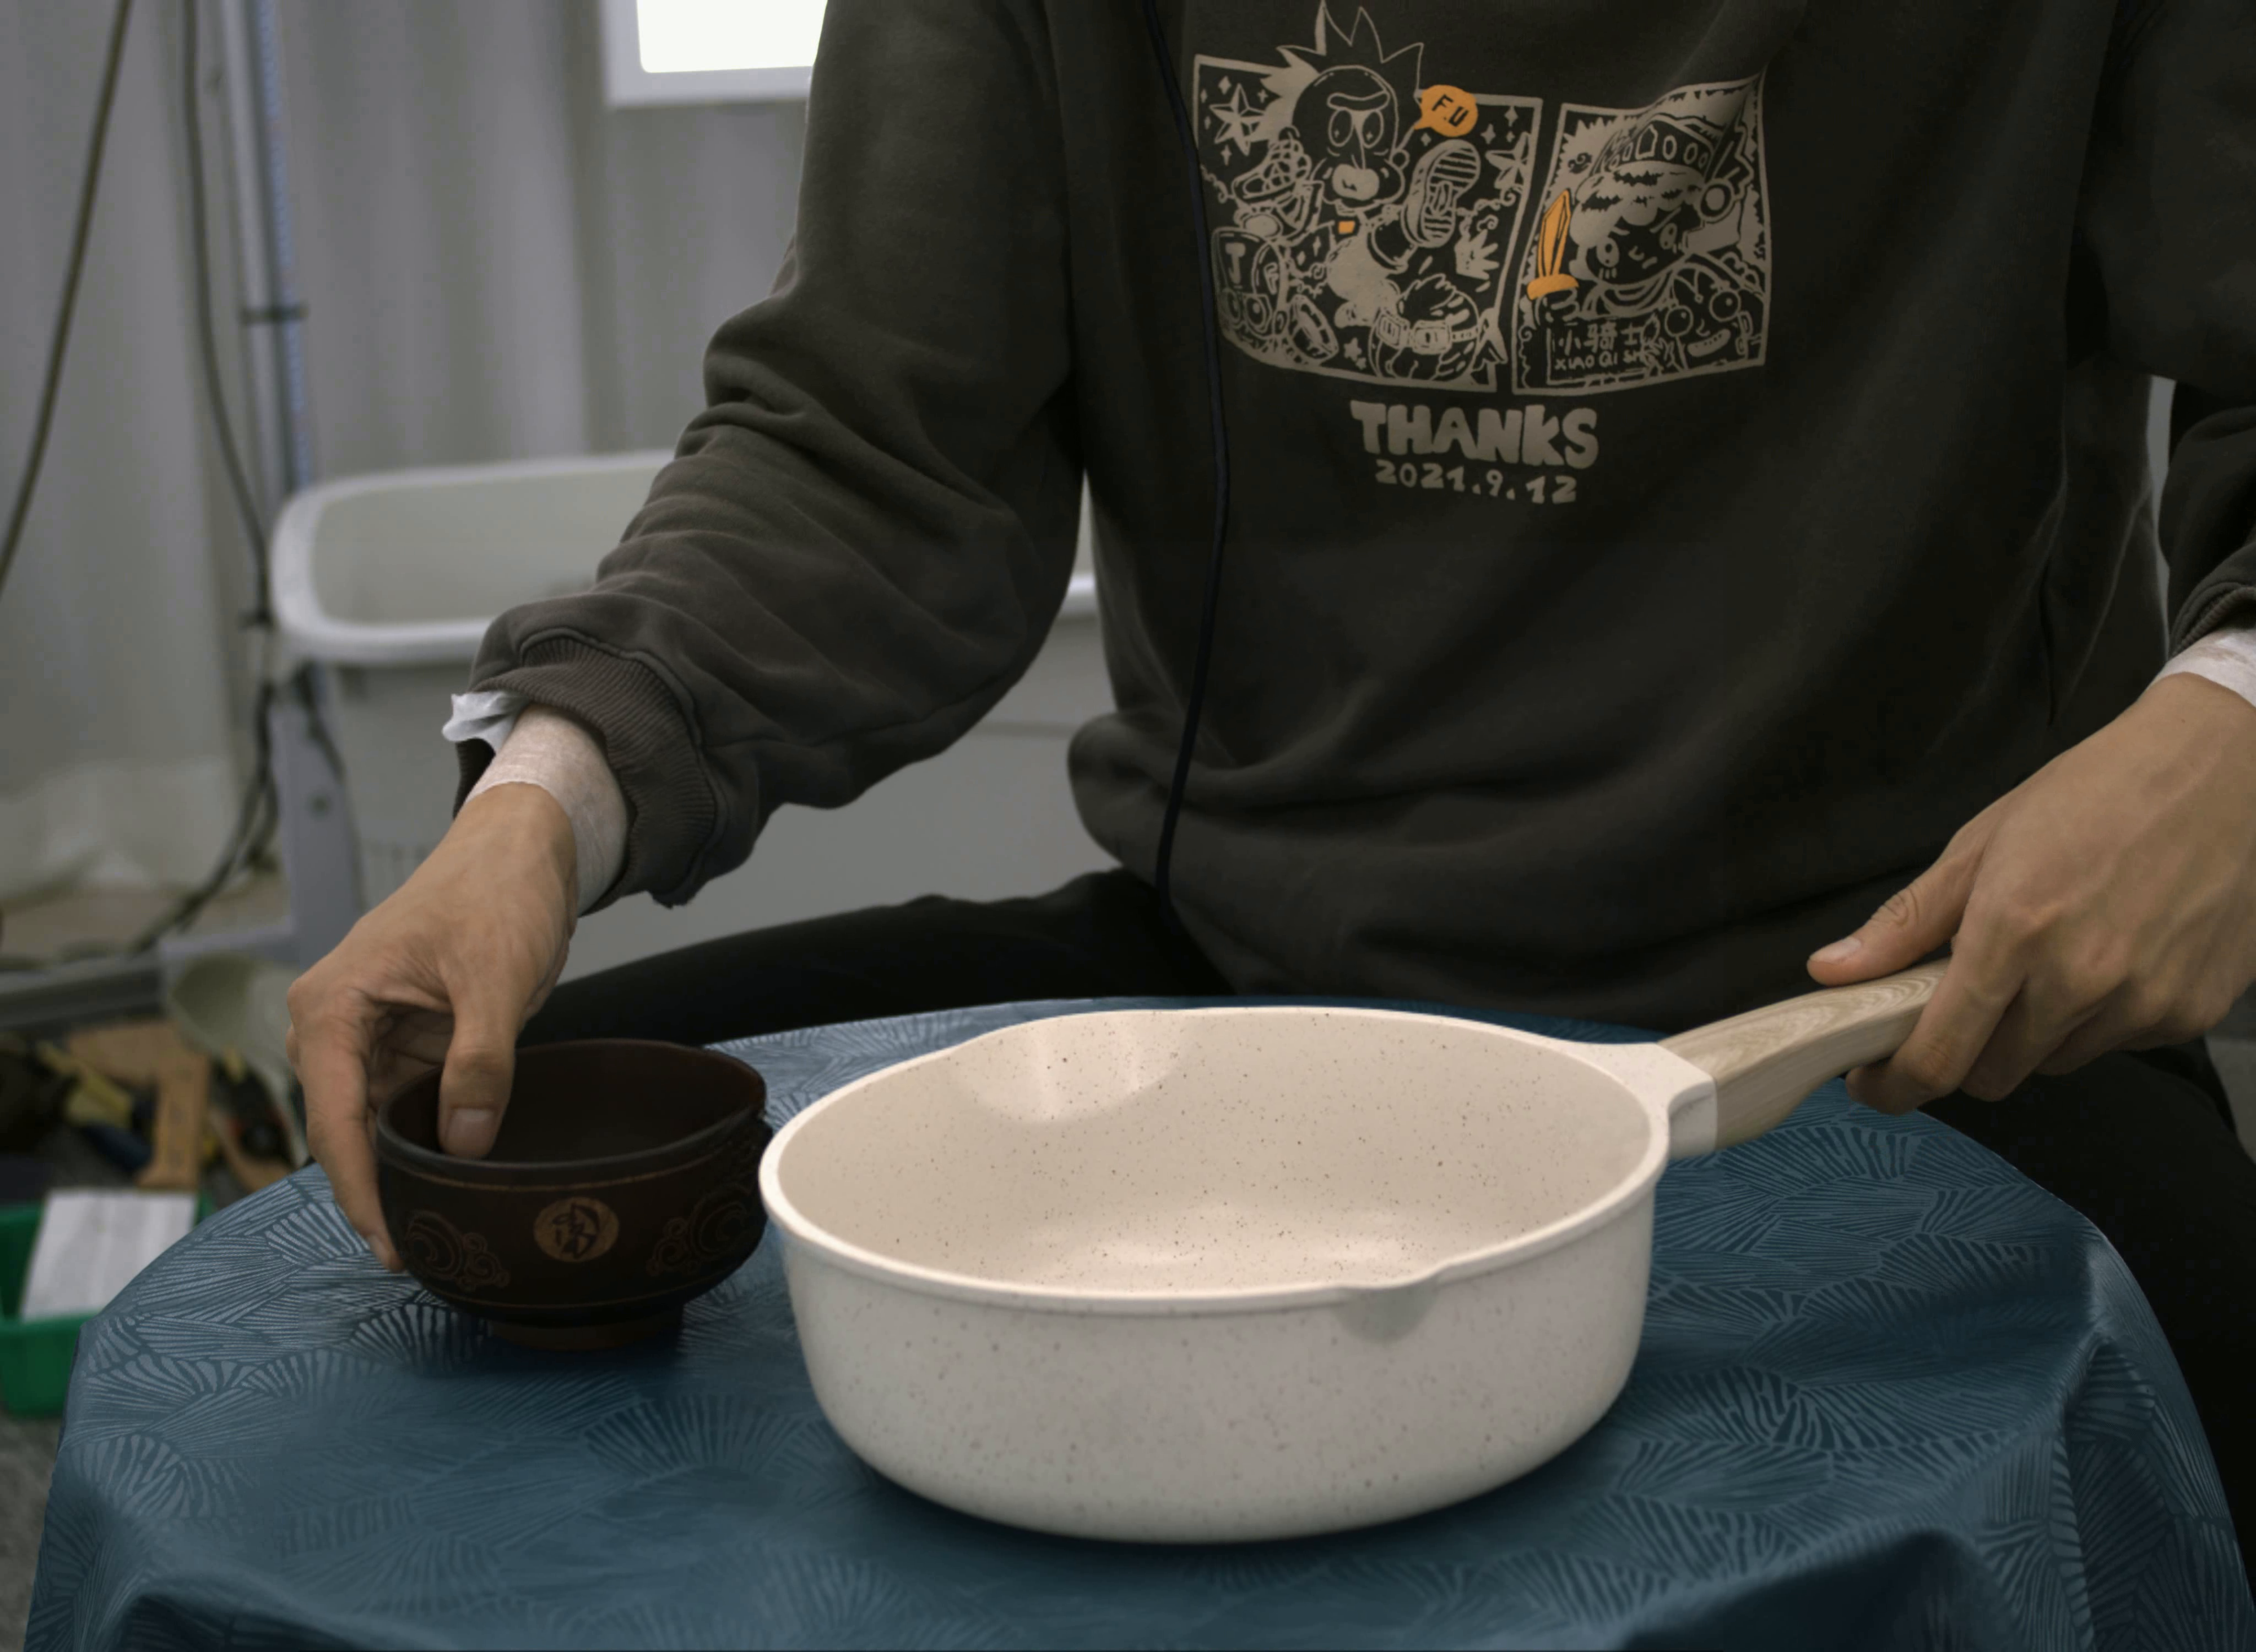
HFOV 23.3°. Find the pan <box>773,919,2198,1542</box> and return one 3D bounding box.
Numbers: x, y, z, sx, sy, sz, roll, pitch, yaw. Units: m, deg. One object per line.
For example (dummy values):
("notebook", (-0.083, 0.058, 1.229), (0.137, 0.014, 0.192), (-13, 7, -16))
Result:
("pan", (0.114, 0.107, 1.541), (0.433, 0.101, 0.265), (-8, 14, -20))

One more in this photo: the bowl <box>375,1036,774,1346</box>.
("bowl", (-0.163, 0.112, 1.623), (0.117, 0.069, 0.119), (-3, 15, 1))
